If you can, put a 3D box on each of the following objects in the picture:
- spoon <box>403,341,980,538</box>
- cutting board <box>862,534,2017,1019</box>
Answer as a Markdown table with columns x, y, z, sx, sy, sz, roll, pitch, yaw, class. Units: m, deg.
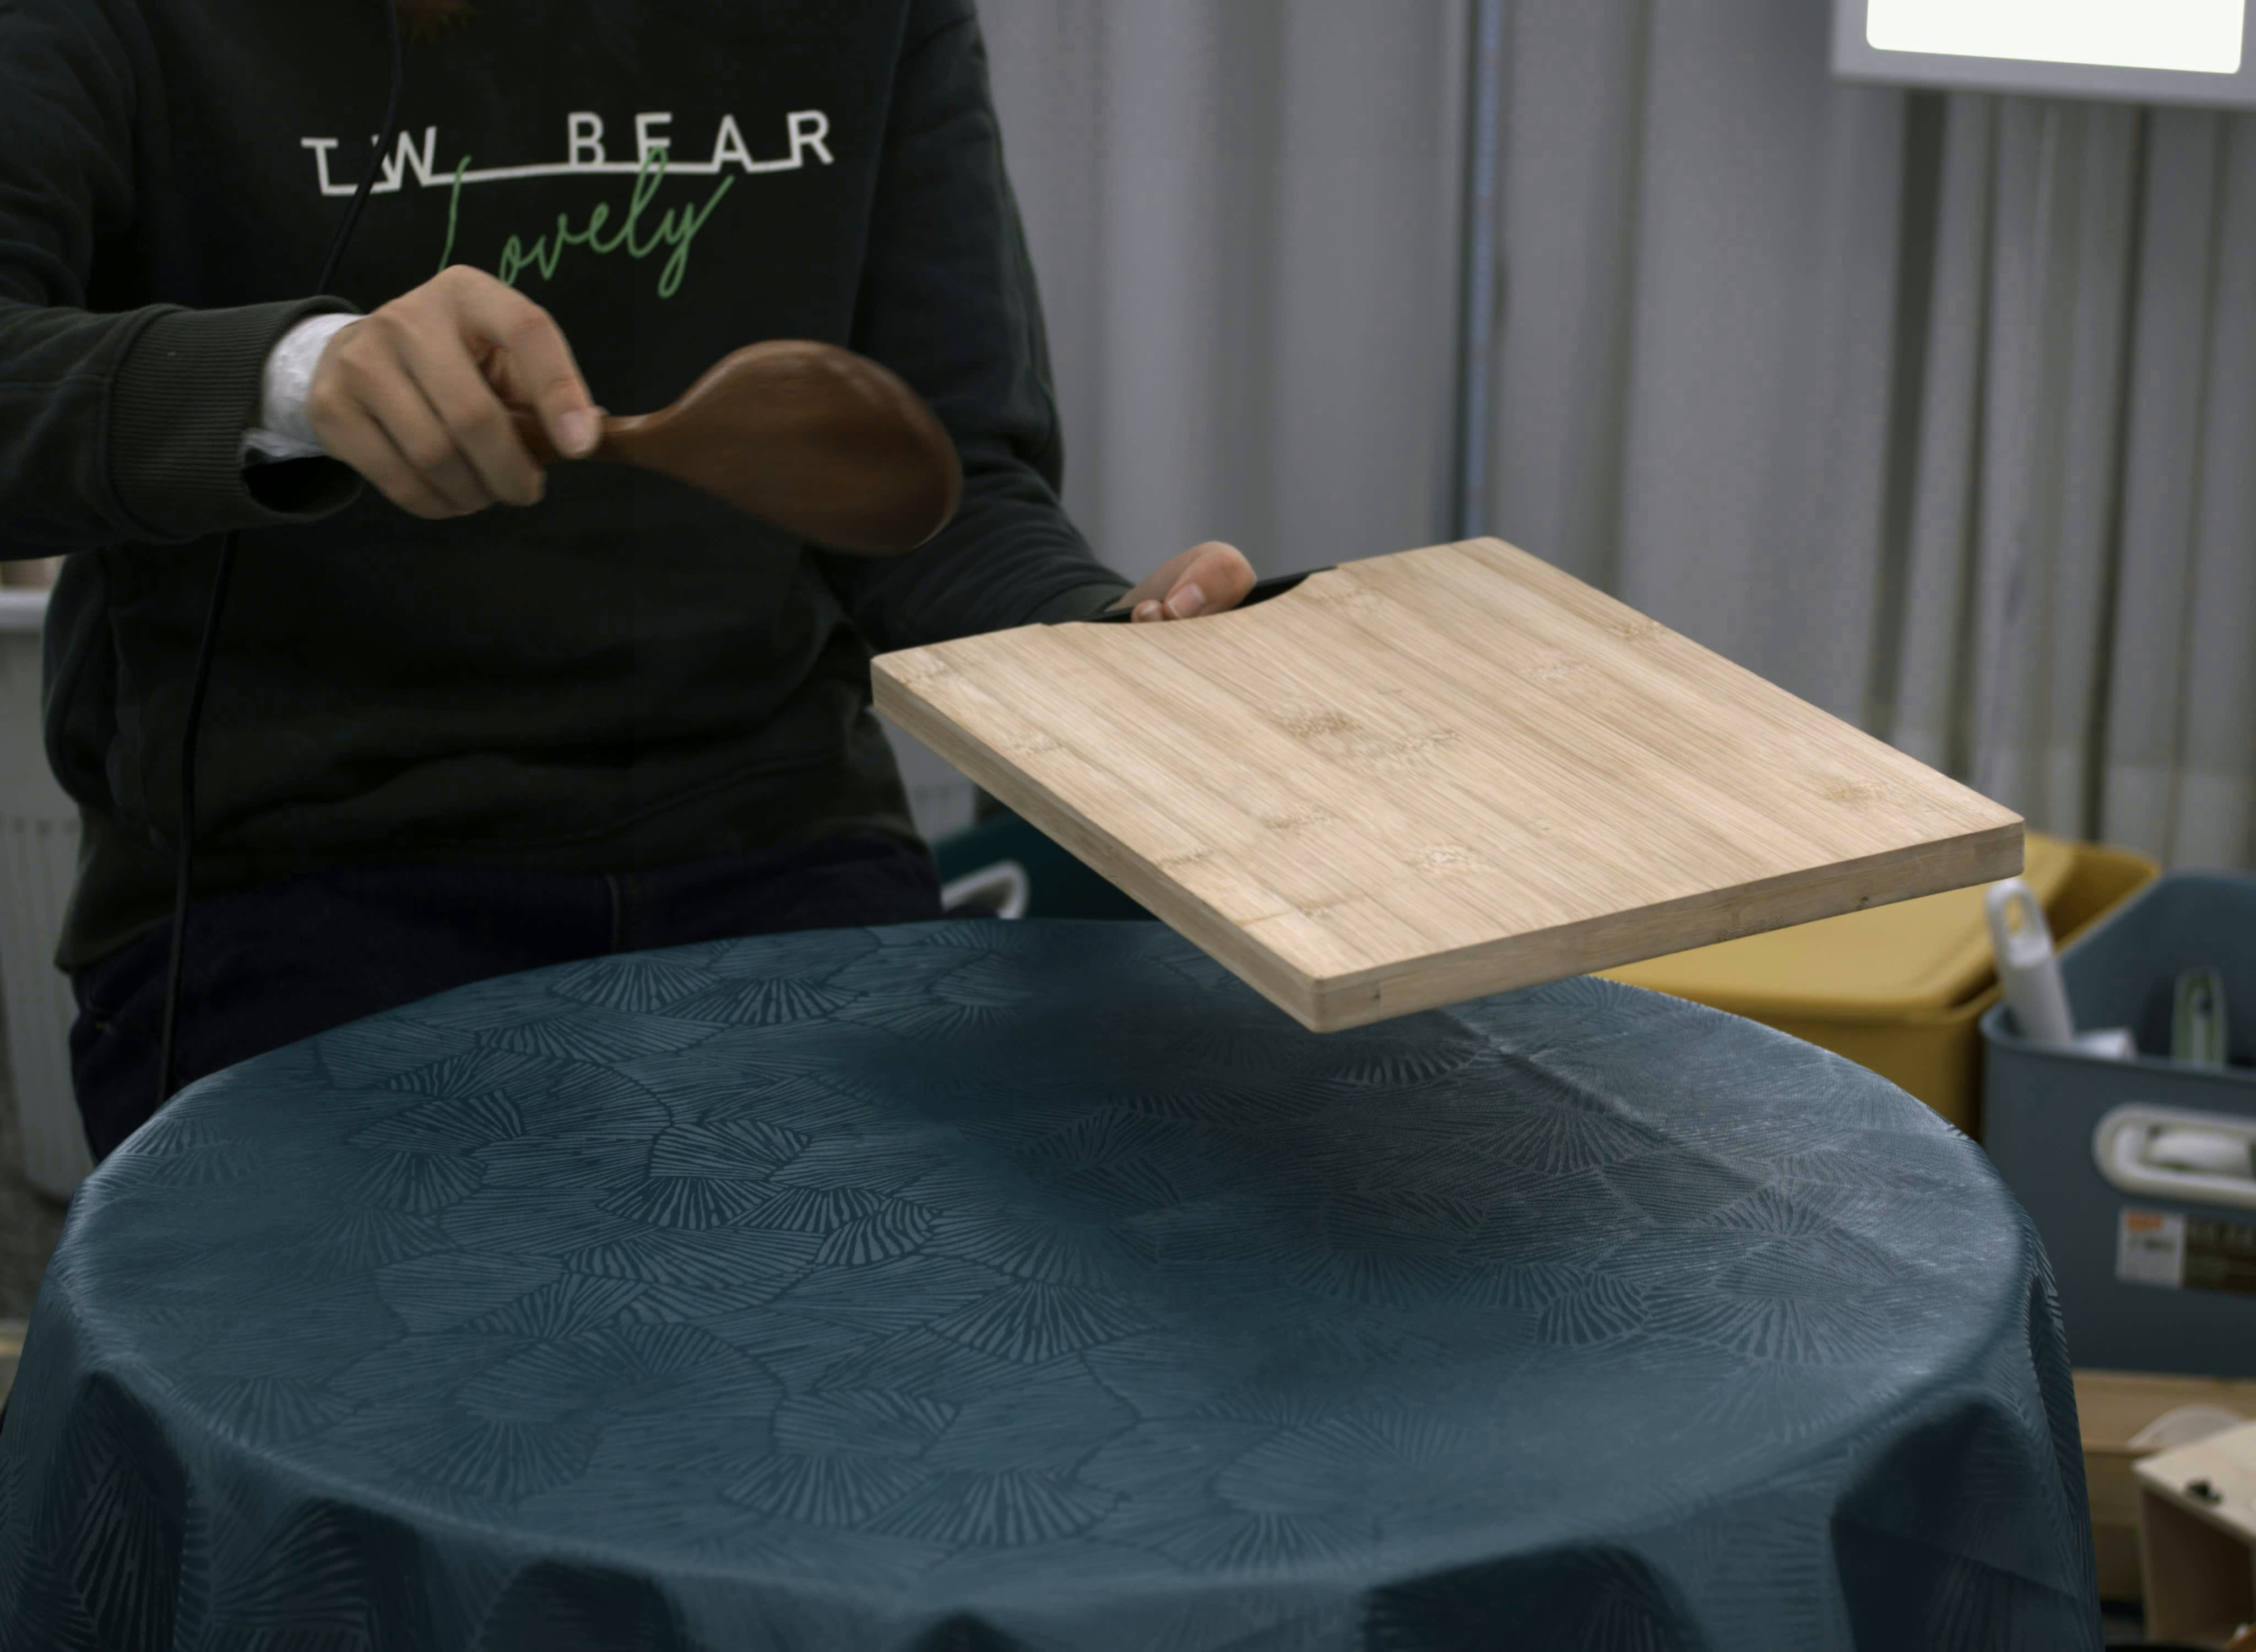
| x | y | z | sx | sy | sz | roll | pitch | yaw | class |
| --- | --- | --- | --- | --- | --- | --- | --- | --- | --- |
| -0.134 | -0.115 | 1.555 | 0.213 | 0.076 | 0.017 | 7 | 50 | 36 | spoon |
| 0.089 | -0.023 | 1.686 | 0.251 | 0.024 | 0.344 | -11 | 22 | -24 | cutting board |
